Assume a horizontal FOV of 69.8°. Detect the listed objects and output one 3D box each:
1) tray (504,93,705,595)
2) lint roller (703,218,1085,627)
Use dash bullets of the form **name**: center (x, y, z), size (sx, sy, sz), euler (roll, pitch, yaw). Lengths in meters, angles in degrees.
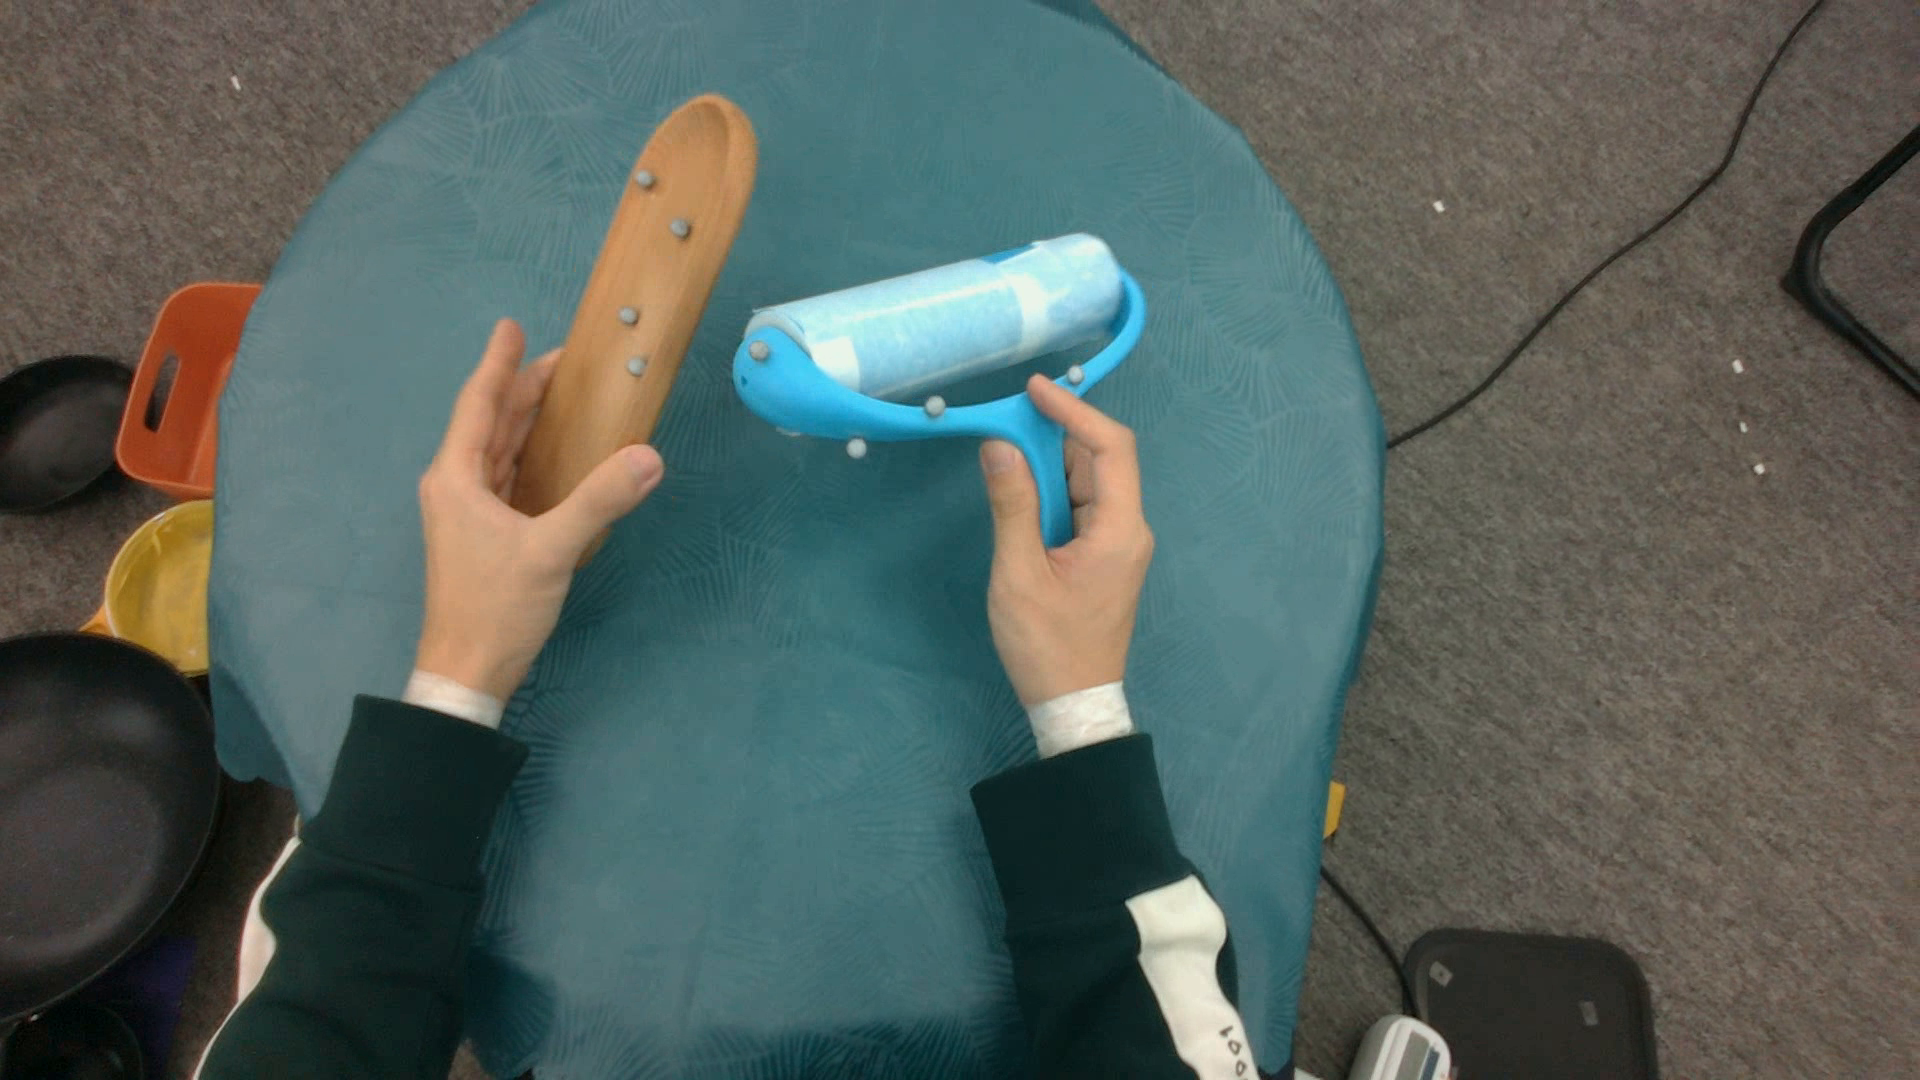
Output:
- **tray**: center (-0.161, -0.085, 0.615), size (0.020, 0.102, 0.231), euler (14, 100, -30)
- **lint roller**: center (0.001, -0.050, 0.625), size (0.230, 0.067, 0.180), euler (-34, 97, -49)
